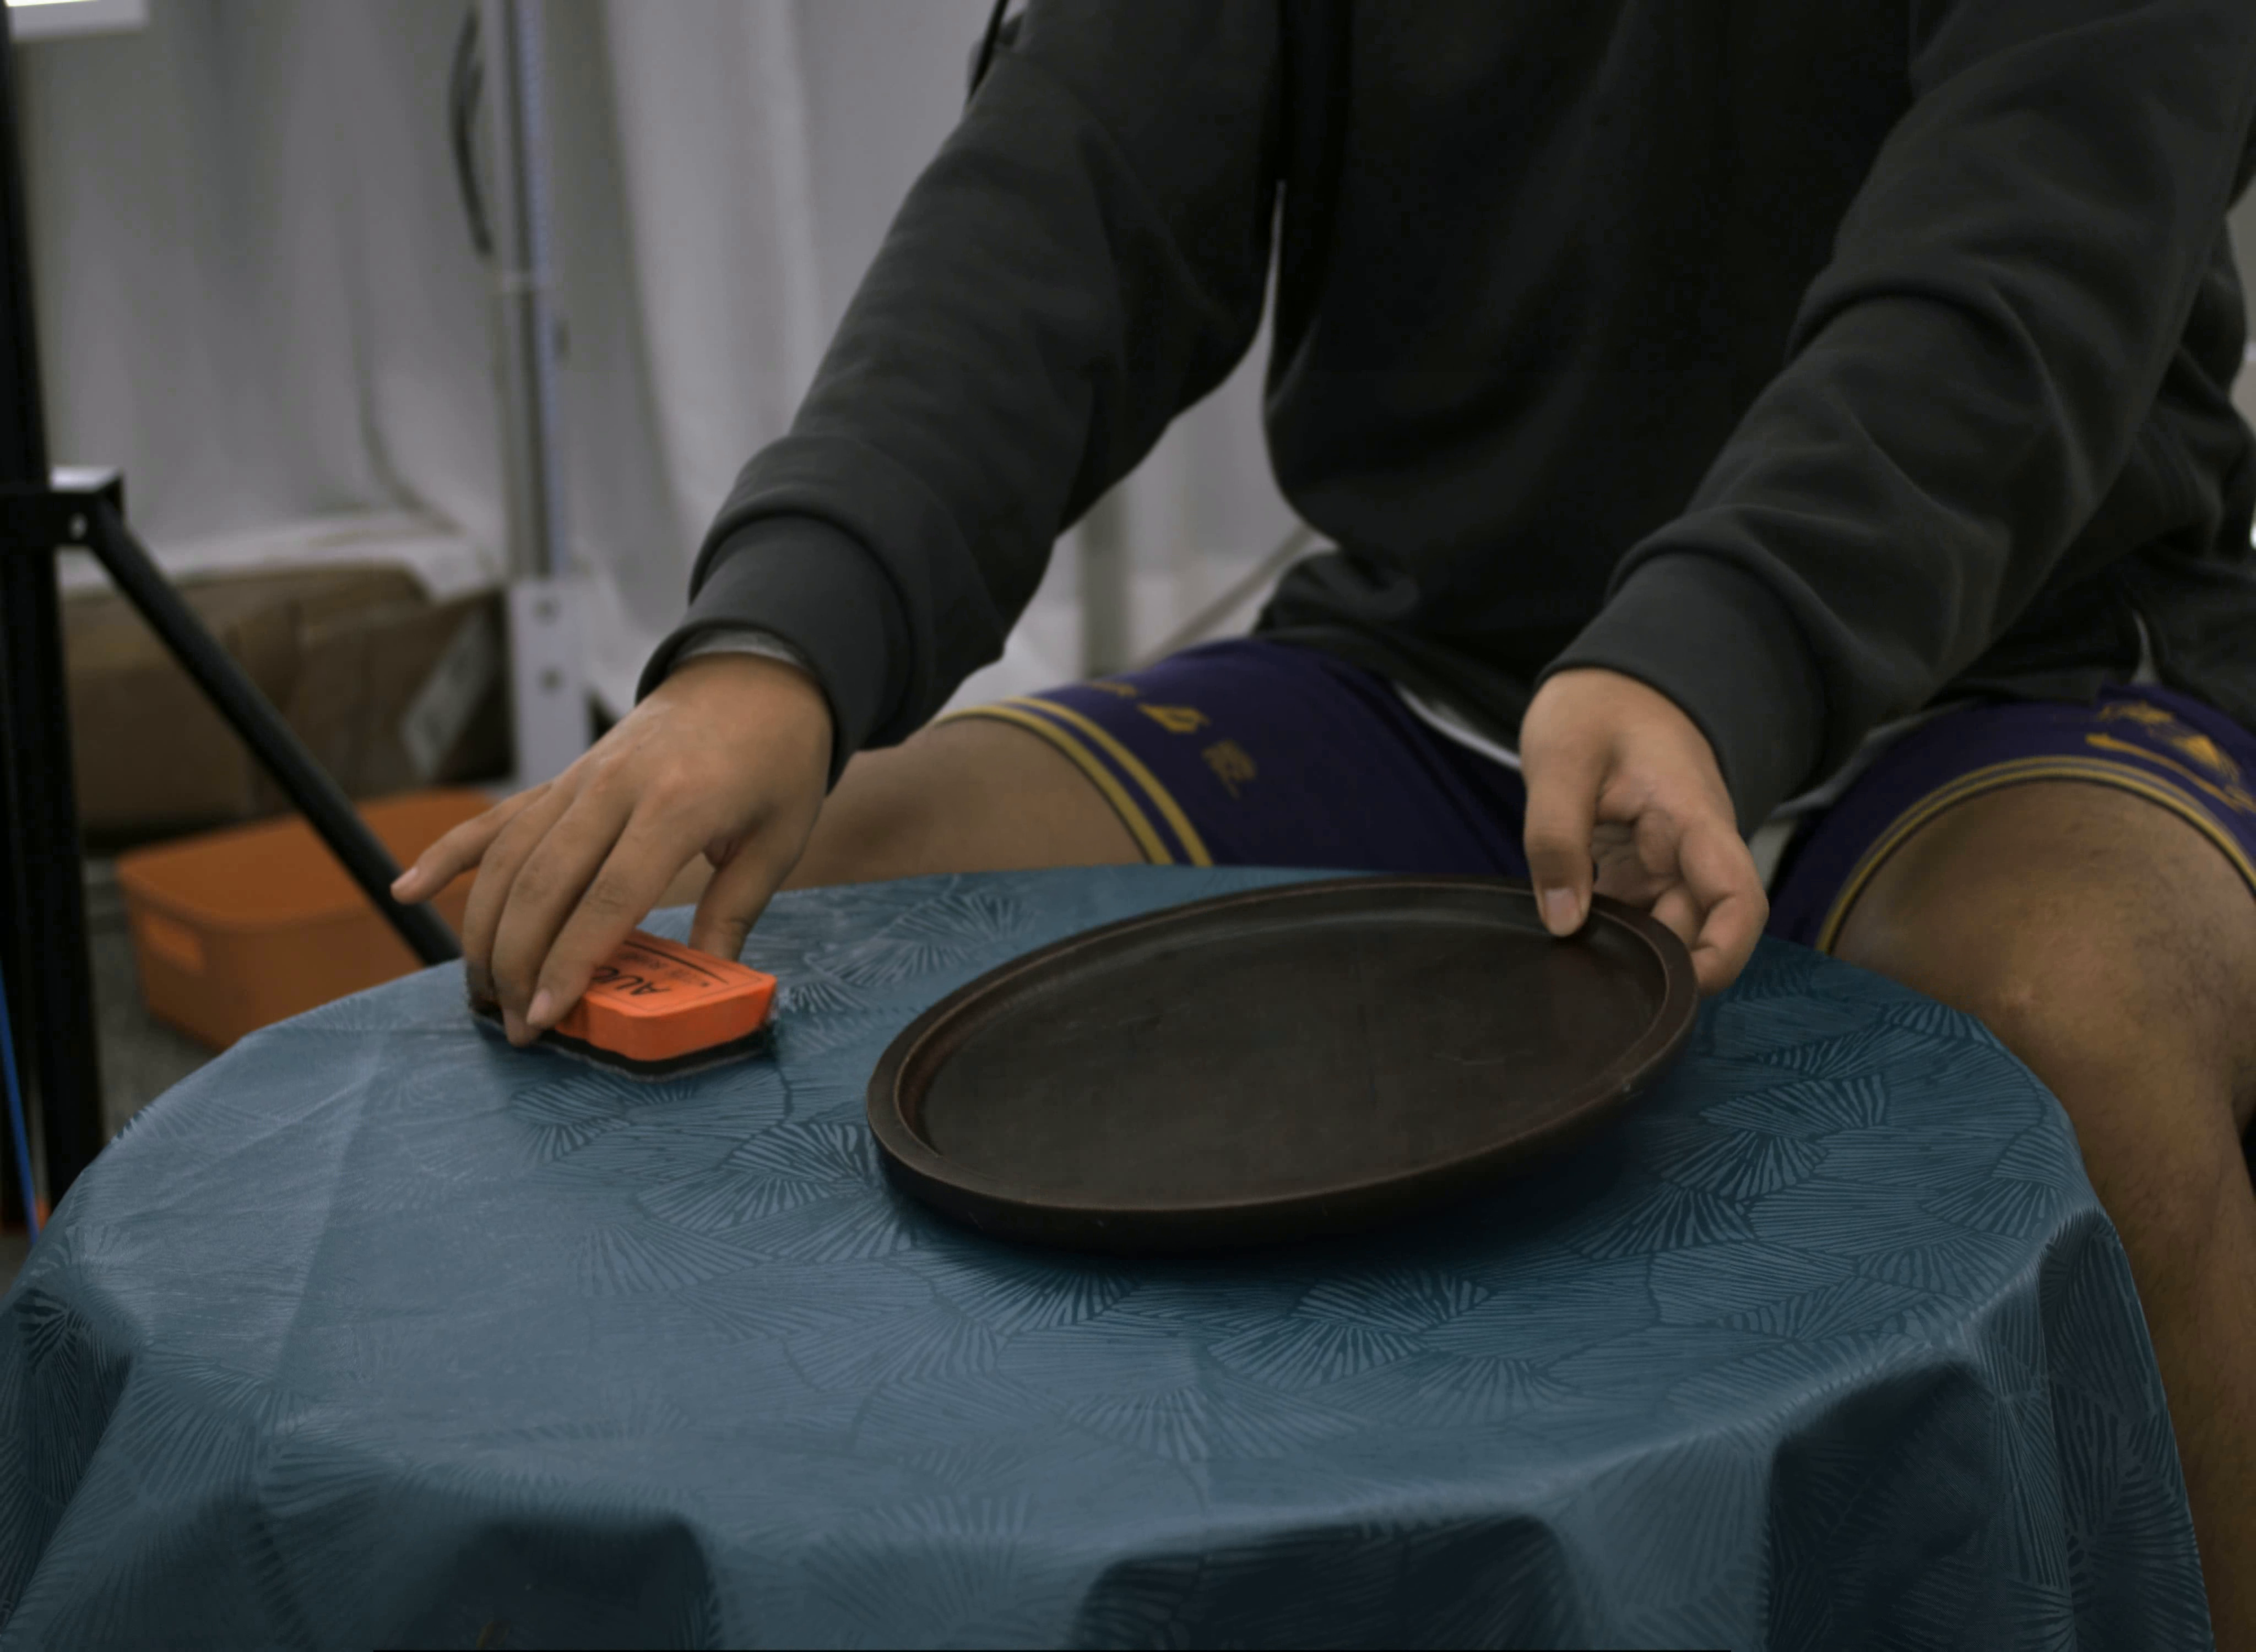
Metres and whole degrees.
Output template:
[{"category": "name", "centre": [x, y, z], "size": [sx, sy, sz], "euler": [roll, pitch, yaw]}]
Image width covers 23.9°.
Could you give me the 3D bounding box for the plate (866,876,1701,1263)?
[{"category": "plate", "centre": [0.047, 0.071, 1.588], "size": [0.254, 0.029, 0.256], "euler": [-11, 17, 2]}]

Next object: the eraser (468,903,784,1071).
[{"category": "eraser", "centre": [-0.163, 0.052, 1.729], "size": [0.058, 0.023, 0.110], "euler": [-19, 22, -36]}]
